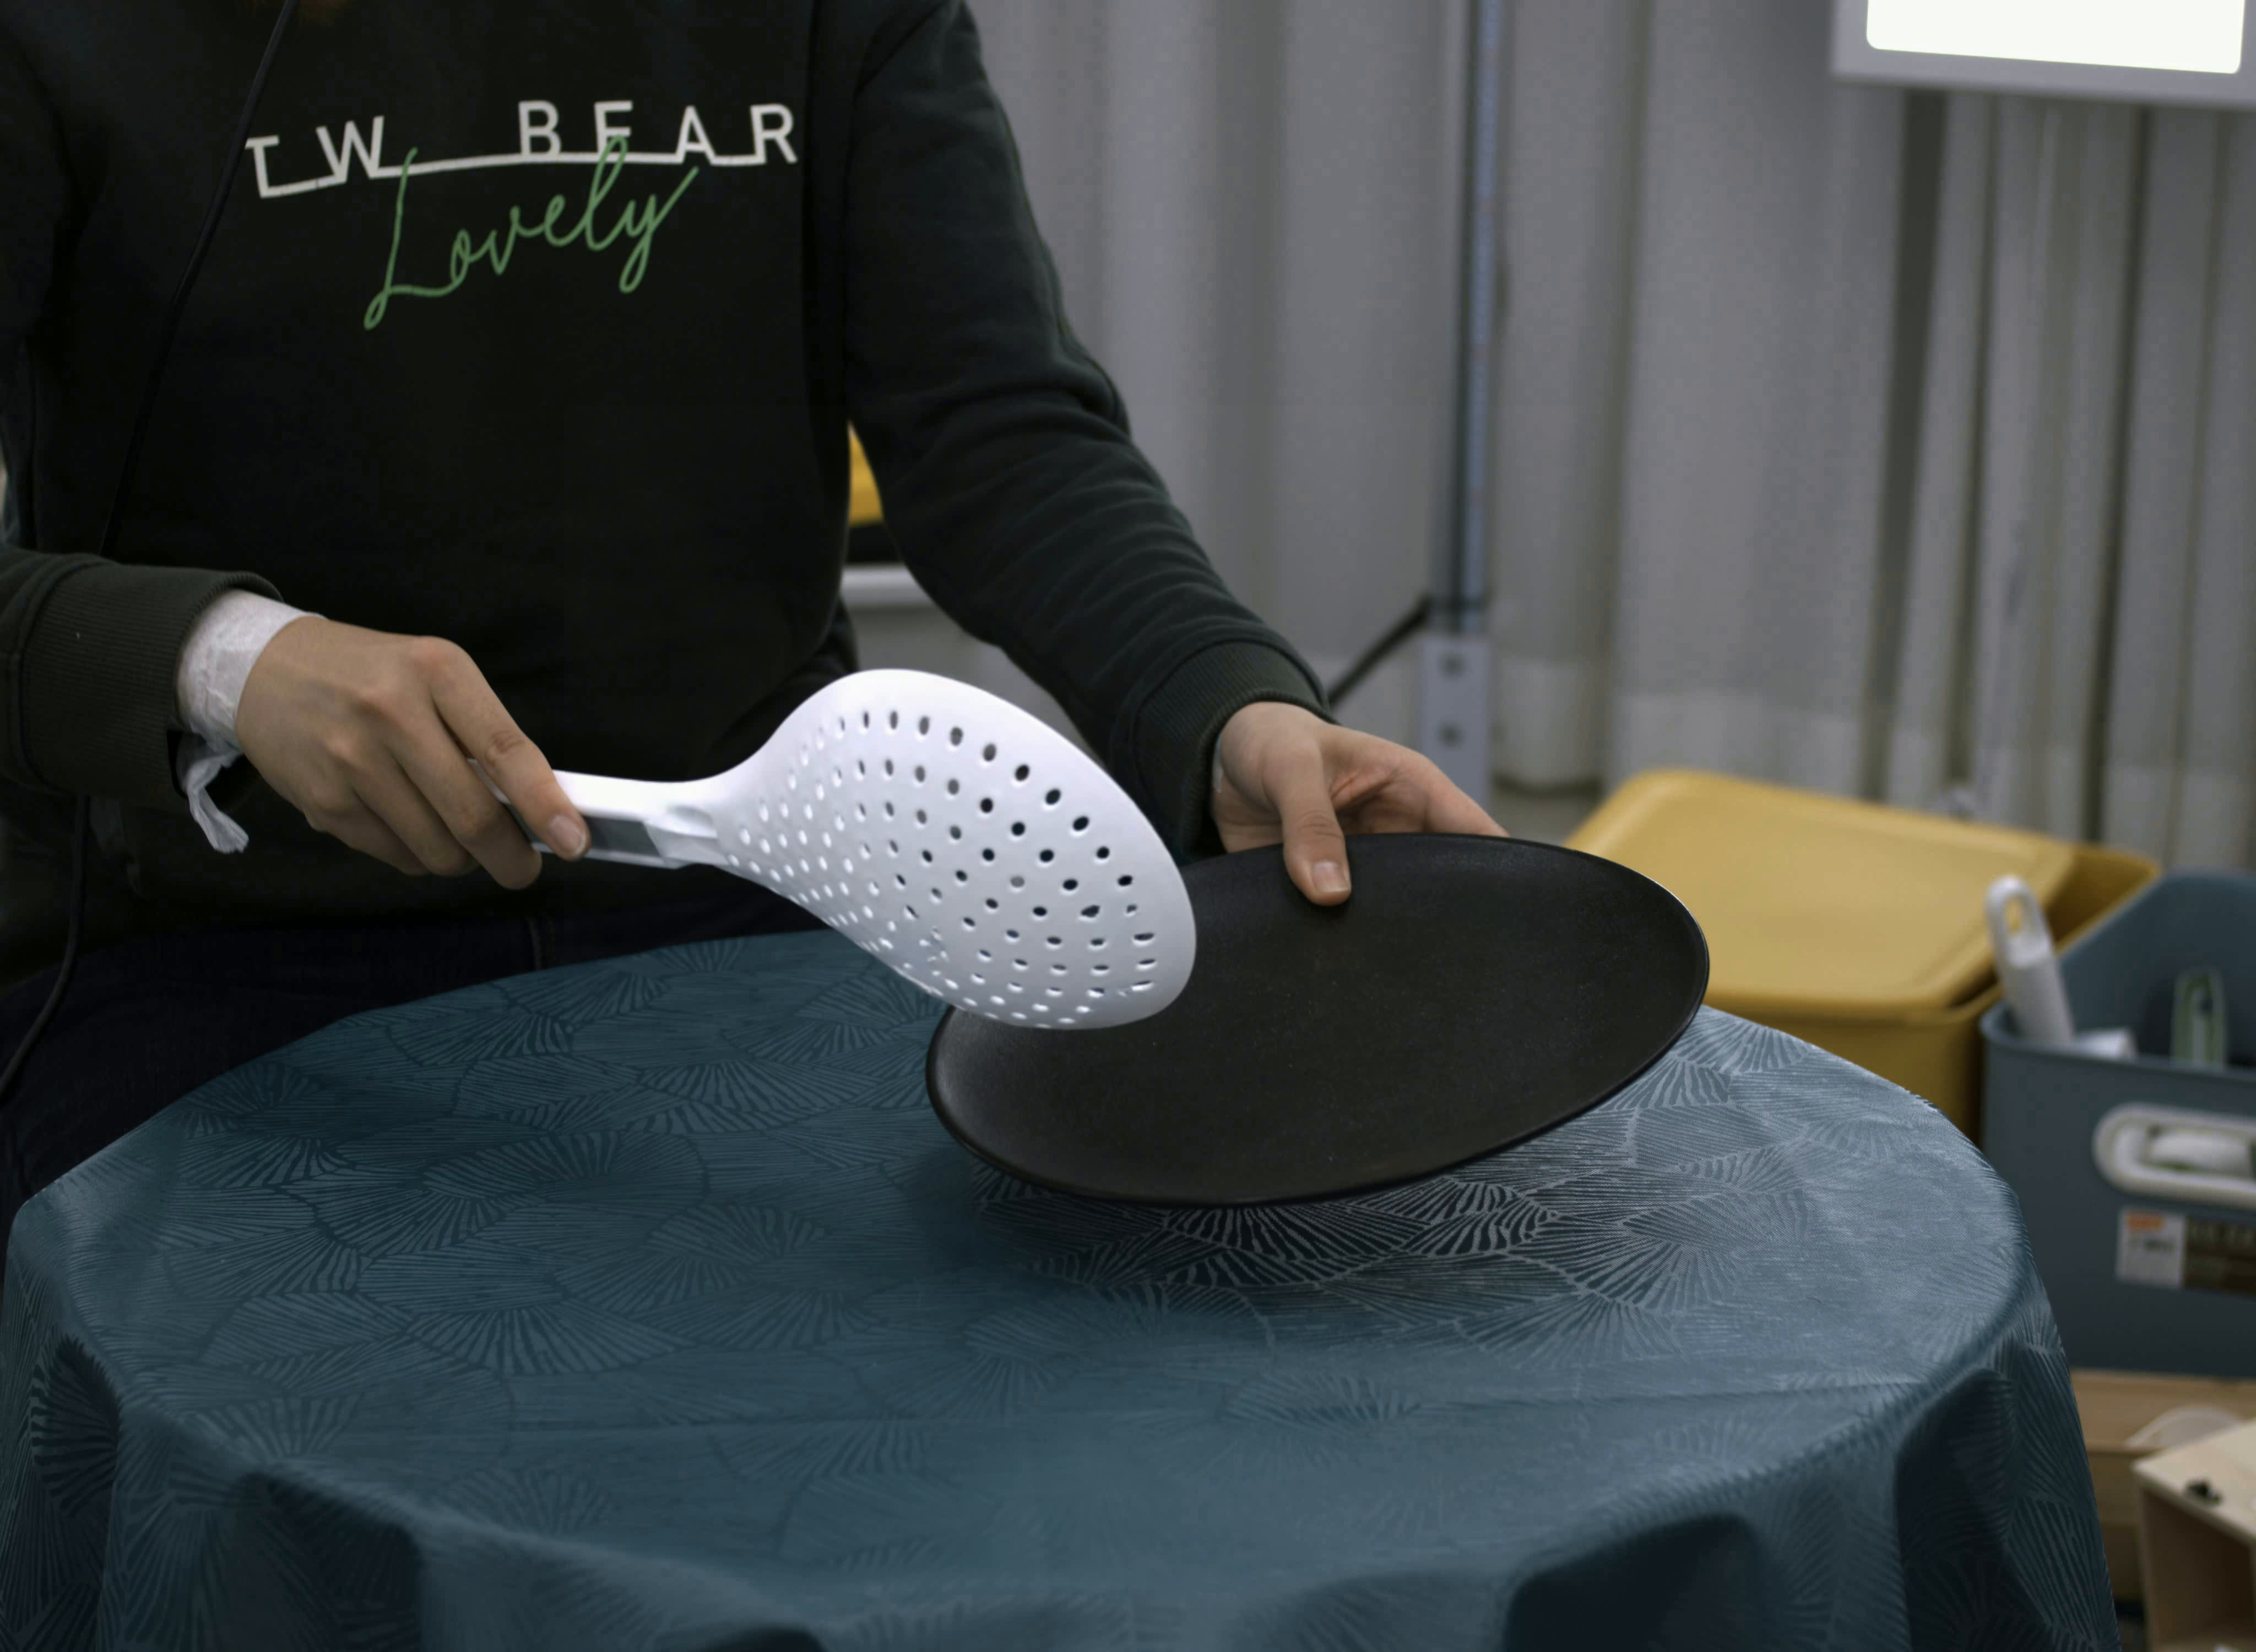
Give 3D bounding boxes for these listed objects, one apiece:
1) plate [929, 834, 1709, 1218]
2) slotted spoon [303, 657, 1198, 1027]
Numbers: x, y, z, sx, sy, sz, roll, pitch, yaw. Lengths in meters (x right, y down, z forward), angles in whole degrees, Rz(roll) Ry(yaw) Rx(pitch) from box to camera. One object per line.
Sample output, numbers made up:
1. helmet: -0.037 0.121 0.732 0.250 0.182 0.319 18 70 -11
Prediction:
1. plate: 0.060 0.065 1.622 0.243 0.024 0.242 -8 25 4
2. slotted spoon: -0.125 0.001 1.584 0.345 0.138 0.045 11 47 41
